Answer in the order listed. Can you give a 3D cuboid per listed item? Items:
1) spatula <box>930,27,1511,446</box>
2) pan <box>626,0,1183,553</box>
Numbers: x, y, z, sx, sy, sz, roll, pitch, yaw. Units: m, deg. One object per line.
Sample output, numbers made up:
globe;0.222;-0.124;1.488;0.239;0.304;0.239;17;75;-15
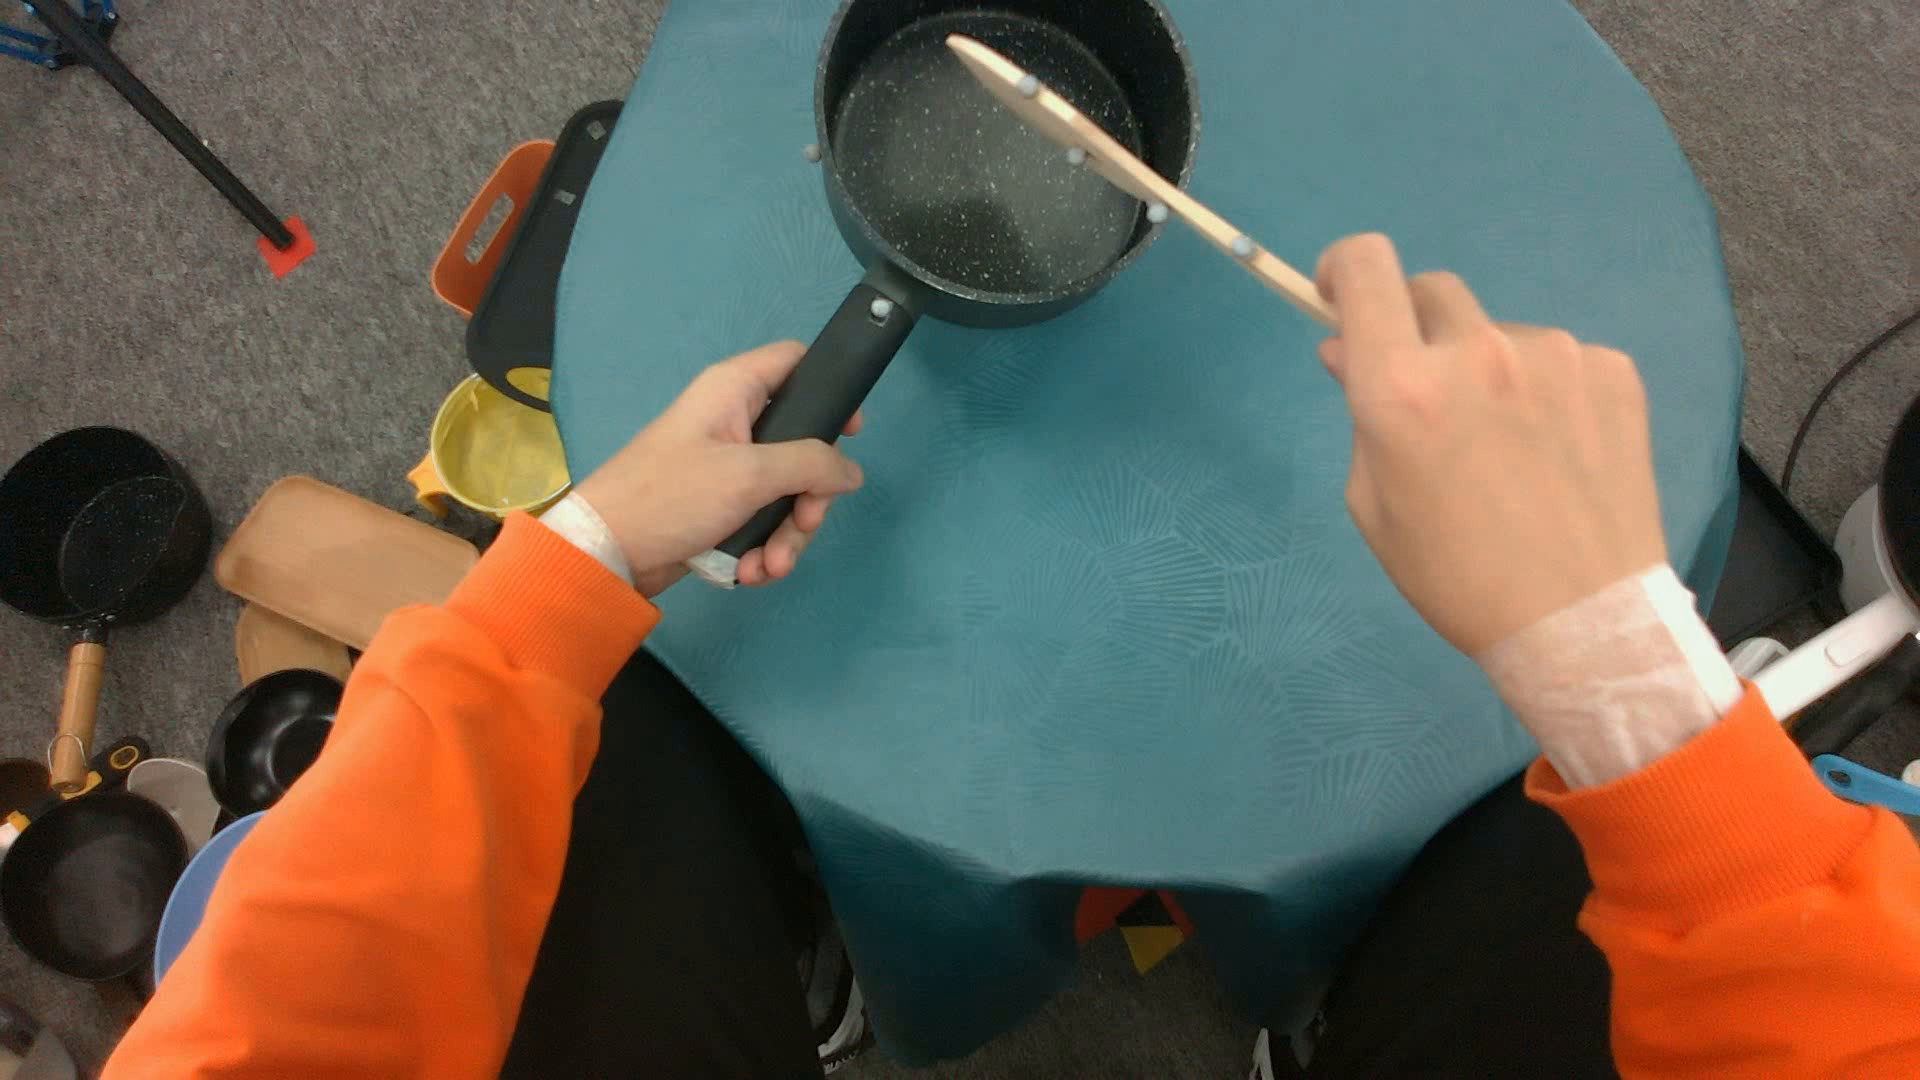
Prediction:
spatula;0.088;-0.121;0.518;0.010;0.072;0.293;-50;56;9
pan;-0.034;-0.129;0.625;0.172;0.086;0.329;36;80;-2
